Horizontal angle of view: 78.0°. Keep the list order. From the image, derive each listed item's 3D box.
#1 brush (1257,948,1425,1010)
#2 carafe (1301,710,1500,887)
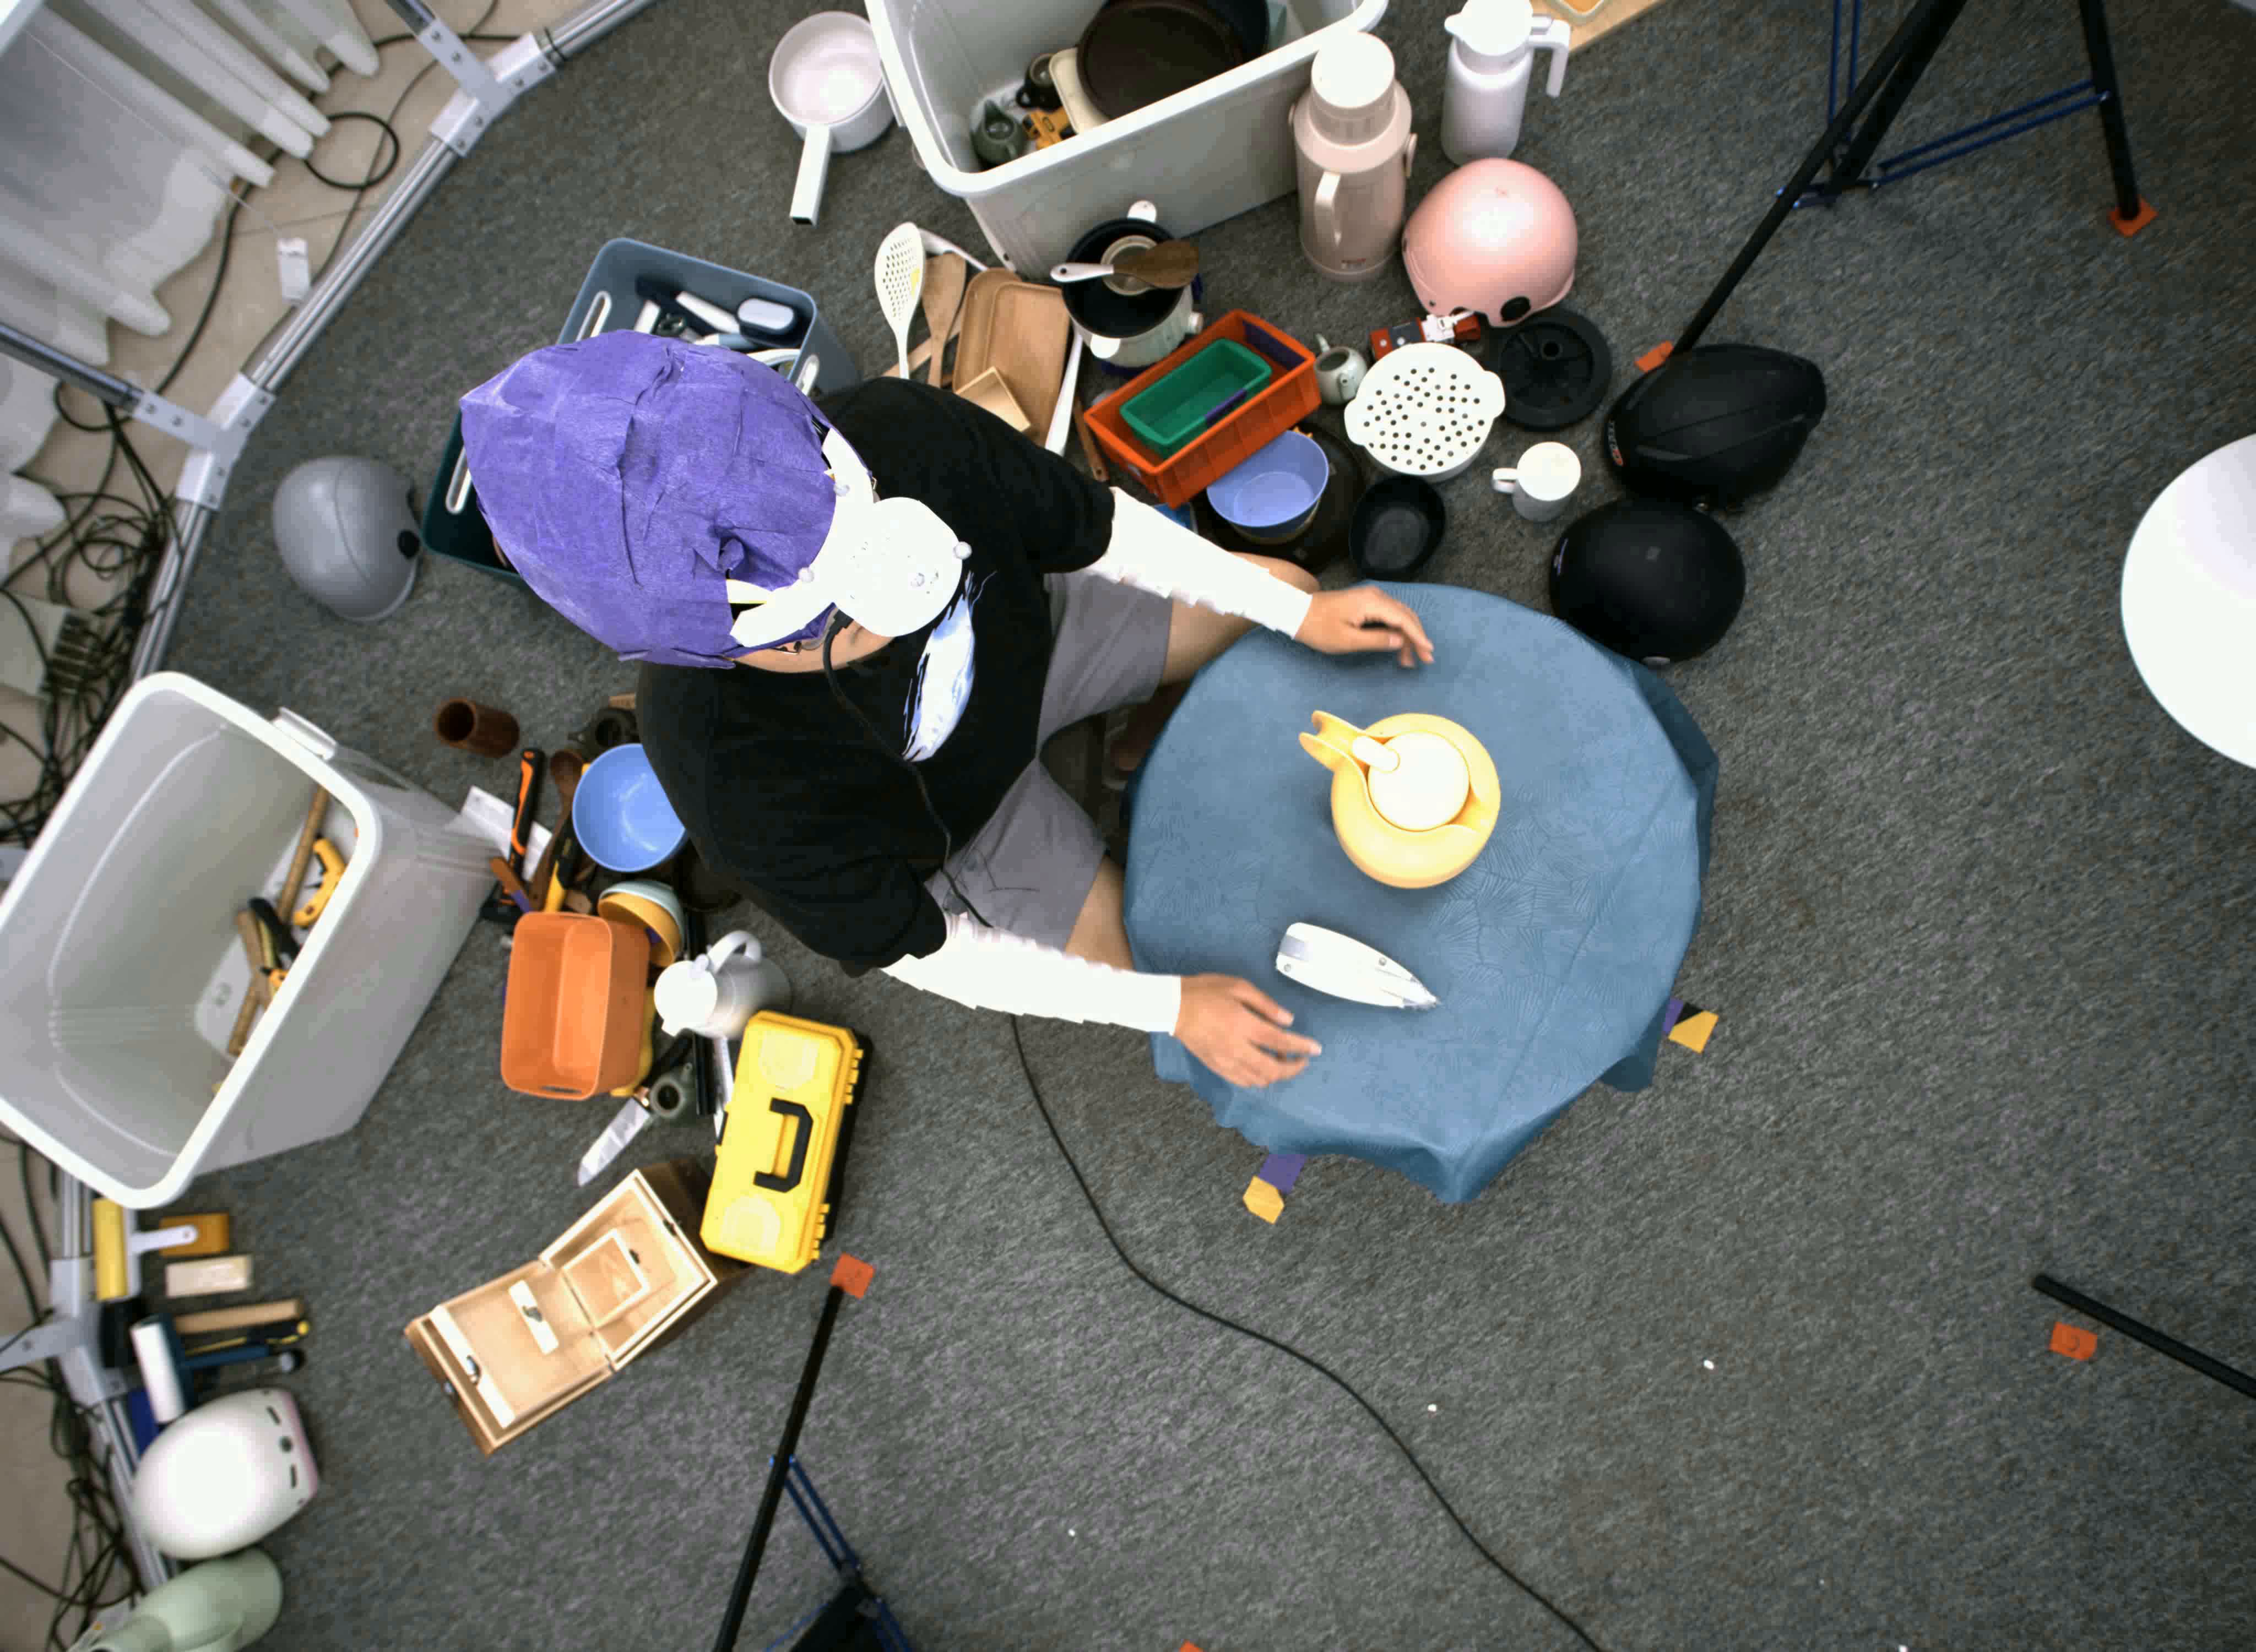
[{"bbox_3d":[0.220,0.158,1.414,0.176,0.094,0.061,4,91,5],"label":"brush"},{"bbox_3d":[0.261,-0.041,1.335,0.202,0.261,0.163,35,90,10],"label":"carafe"}]
